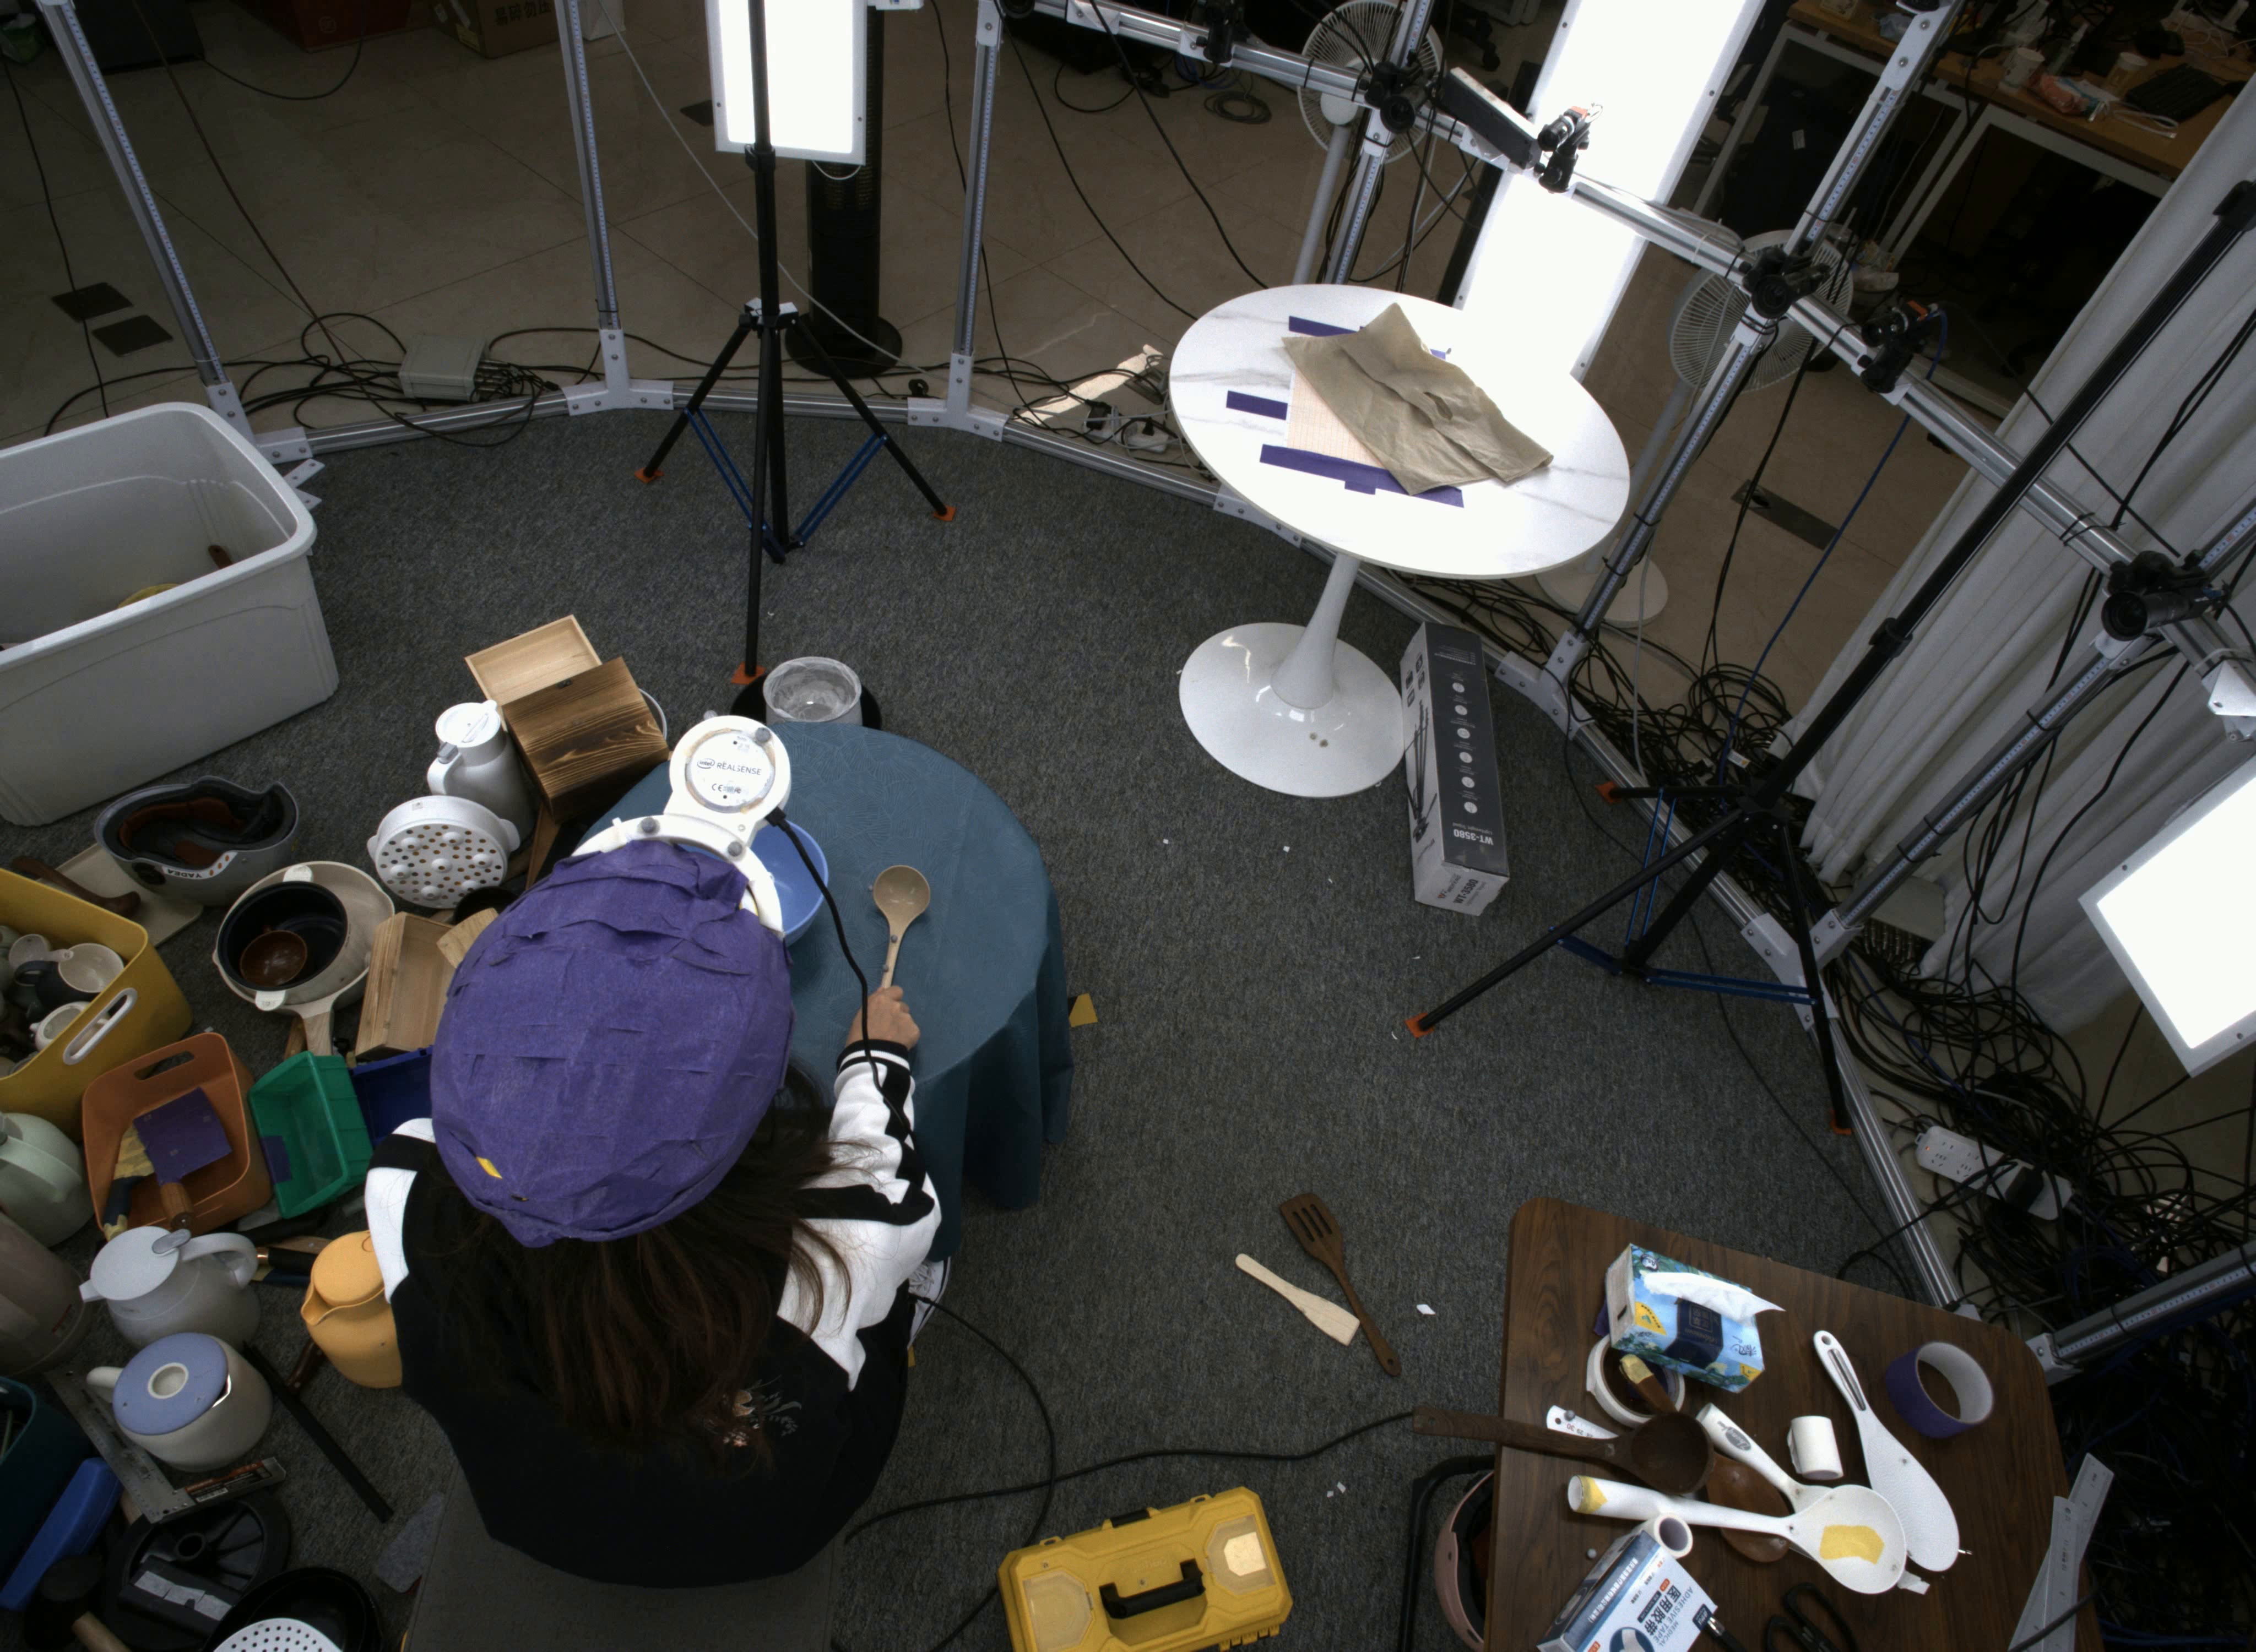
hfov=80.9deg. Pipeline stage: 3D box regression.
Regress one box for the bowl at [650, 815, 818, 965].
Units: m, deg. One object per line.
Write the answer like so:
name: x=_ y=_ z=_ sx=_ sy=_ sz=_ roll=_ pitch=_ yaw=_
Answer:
bowl: x=-0.478 y=0.091 z=1.579 sx=0.196 sy=0.097 sz=0.193 roll=9 pitch=52 yaw=-10

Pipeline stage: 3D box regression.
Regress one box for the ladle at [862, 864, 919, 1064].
ladle: x=-0.299 y=0.157 z=1.583 sx=0.072 sy=0.074 sz=0.249 roll=4 pitch=51 yaw=-5
